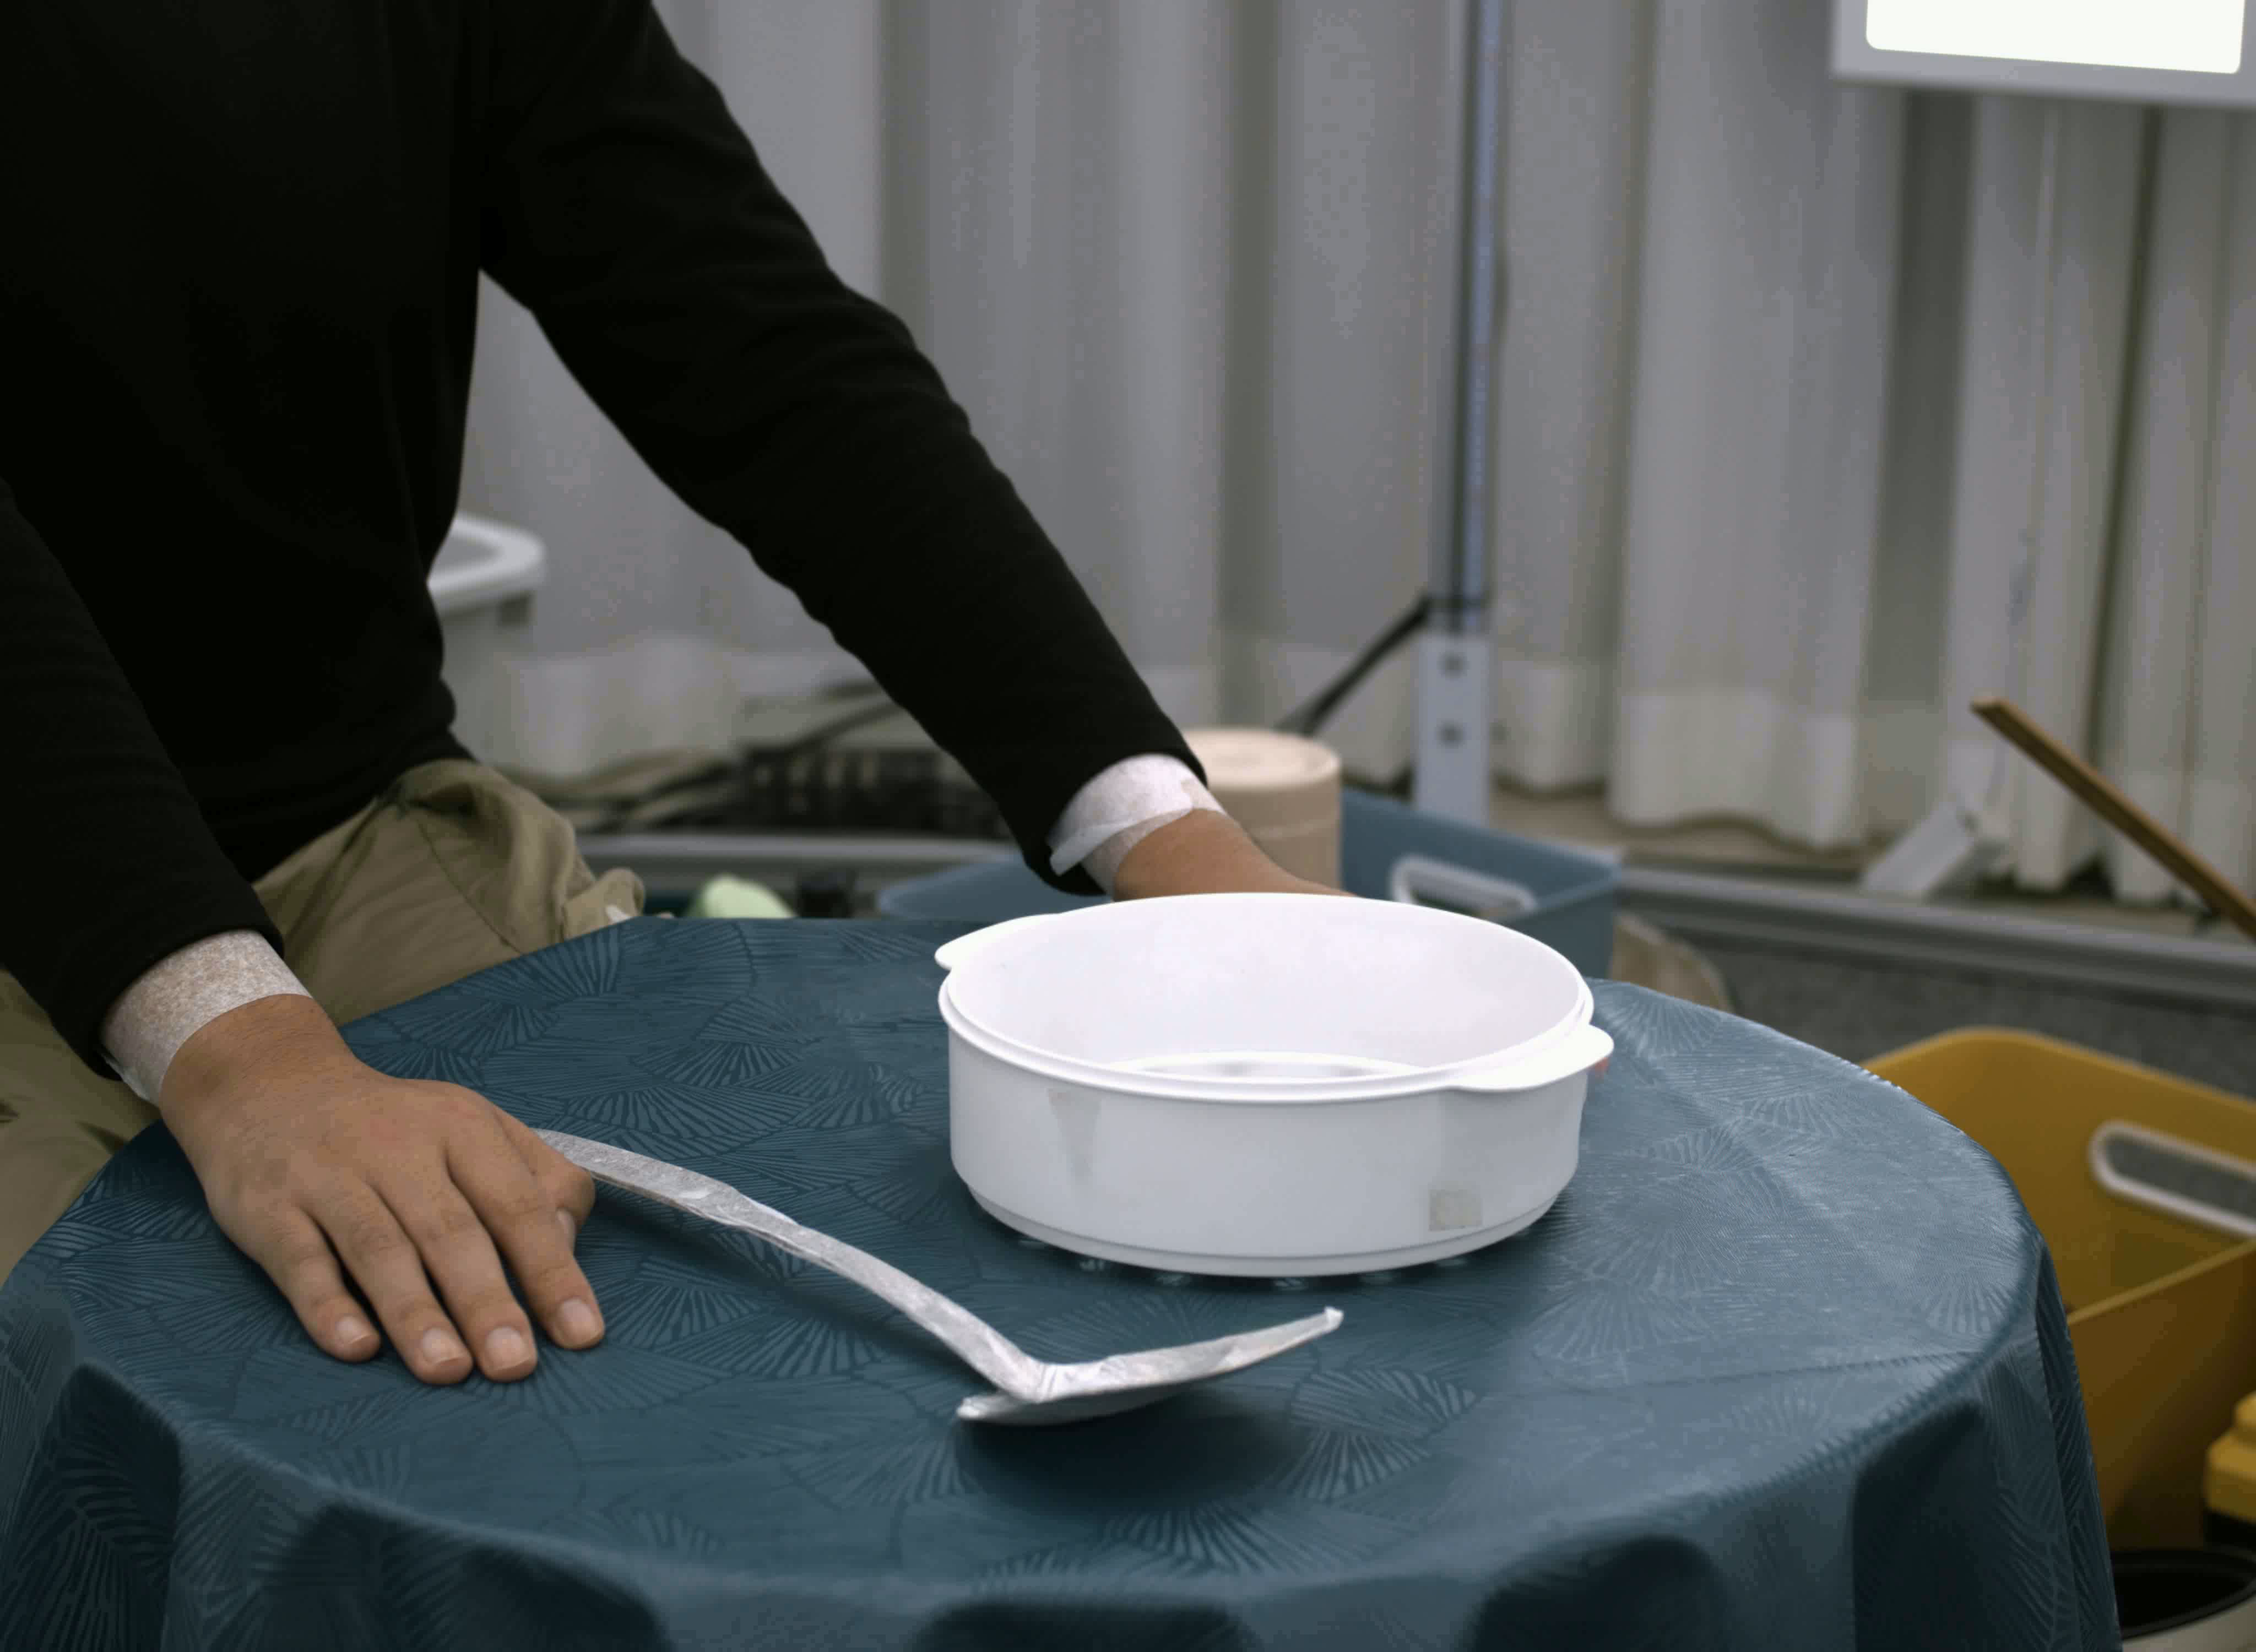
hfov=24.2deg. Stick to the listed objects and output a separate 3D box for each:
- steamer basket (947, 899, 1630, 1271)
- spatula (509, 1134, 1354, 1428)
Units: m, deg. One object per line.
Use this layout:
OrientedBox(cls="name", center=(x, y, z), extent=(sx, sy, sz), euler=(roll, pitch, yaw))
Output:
OrientedBox(cls="steamer basket", center=(0.046, 0.079, 1.612), extent=(0.227, 0.070, 0.203), euler=(11, 18, 36))
OrientedBox(cls="spatula", center=(-0.081, 0.121, 1.517), extent=(0.099, 0.045, 0.360), euler=(-15, 22, -38))
